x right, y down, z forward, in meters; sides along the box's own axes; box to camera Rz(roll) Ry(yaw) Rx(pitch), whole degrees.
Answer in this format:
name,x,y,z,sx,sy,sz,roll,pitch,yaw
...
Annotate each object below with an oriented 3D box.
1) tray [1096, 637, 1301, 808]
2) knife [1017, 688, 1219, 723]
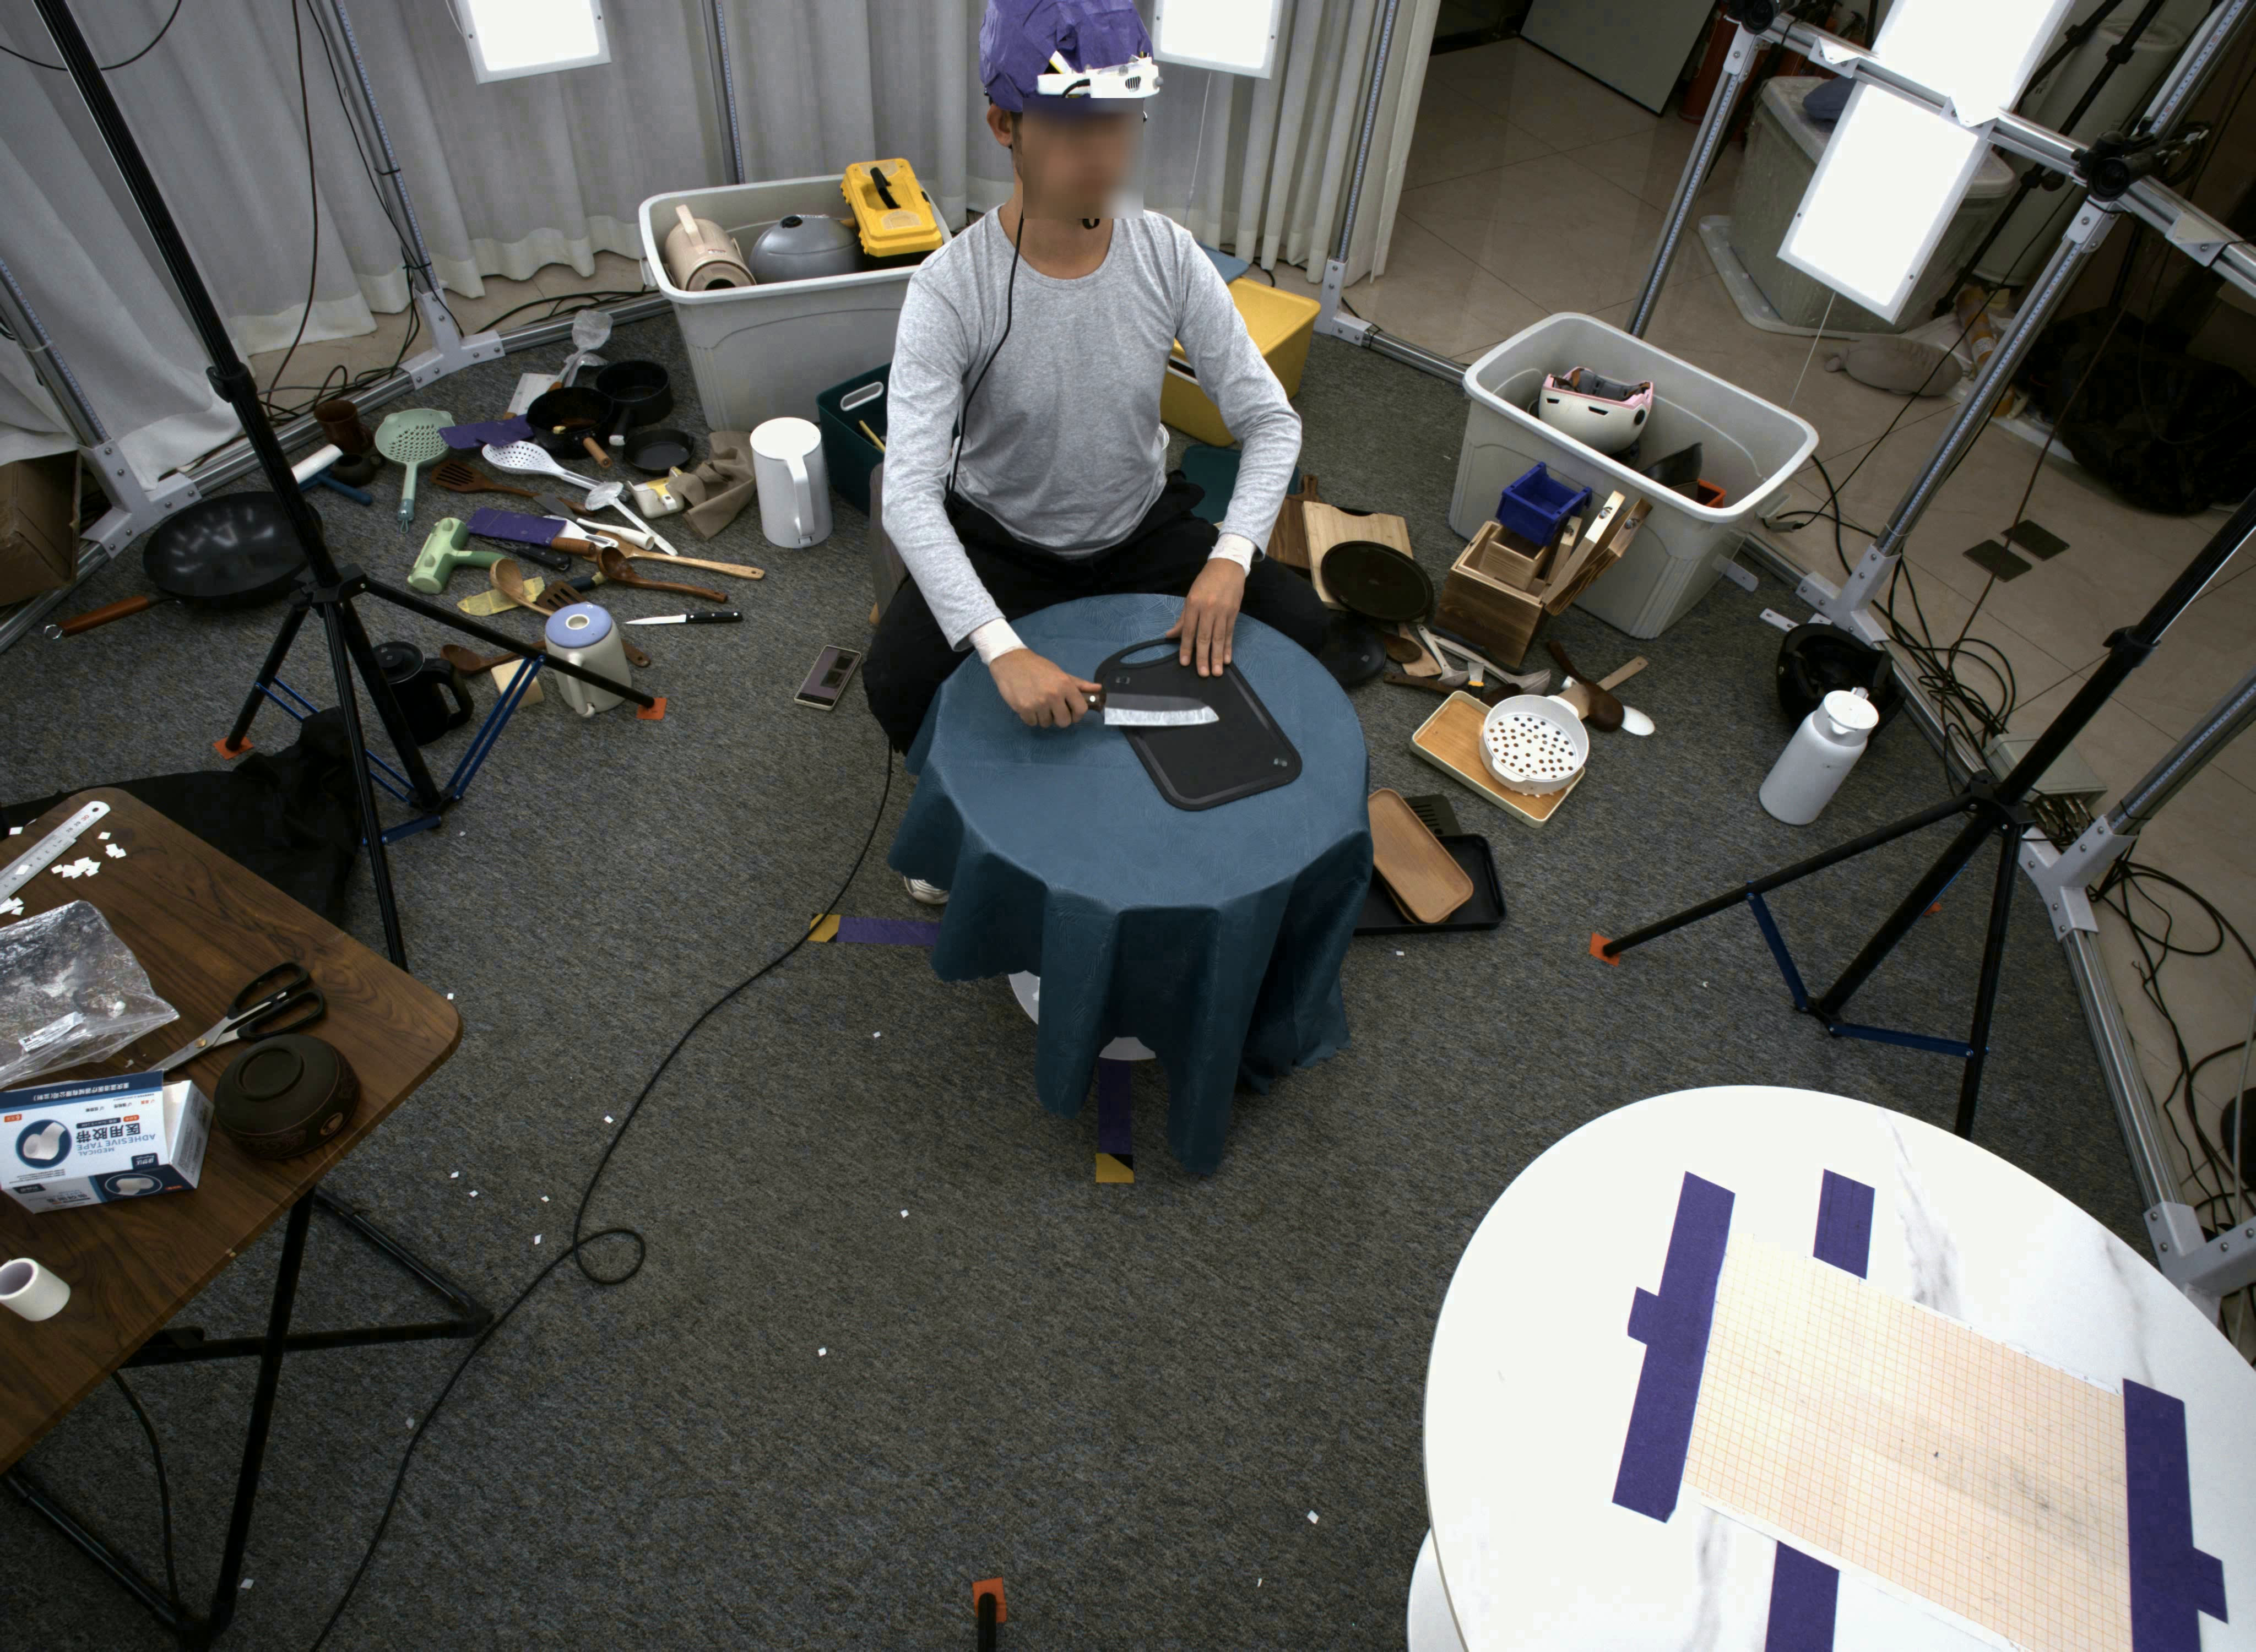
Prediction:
name,x,y,z,sx,sy,sz,roll,pitch,yaw
tray,0.091,-0.157,1.806,0.211,0.009,0.333,-16,52,-17
knife,-0.011,-0.166,1.773,0.288,0.020,0.051,3,79,-14
